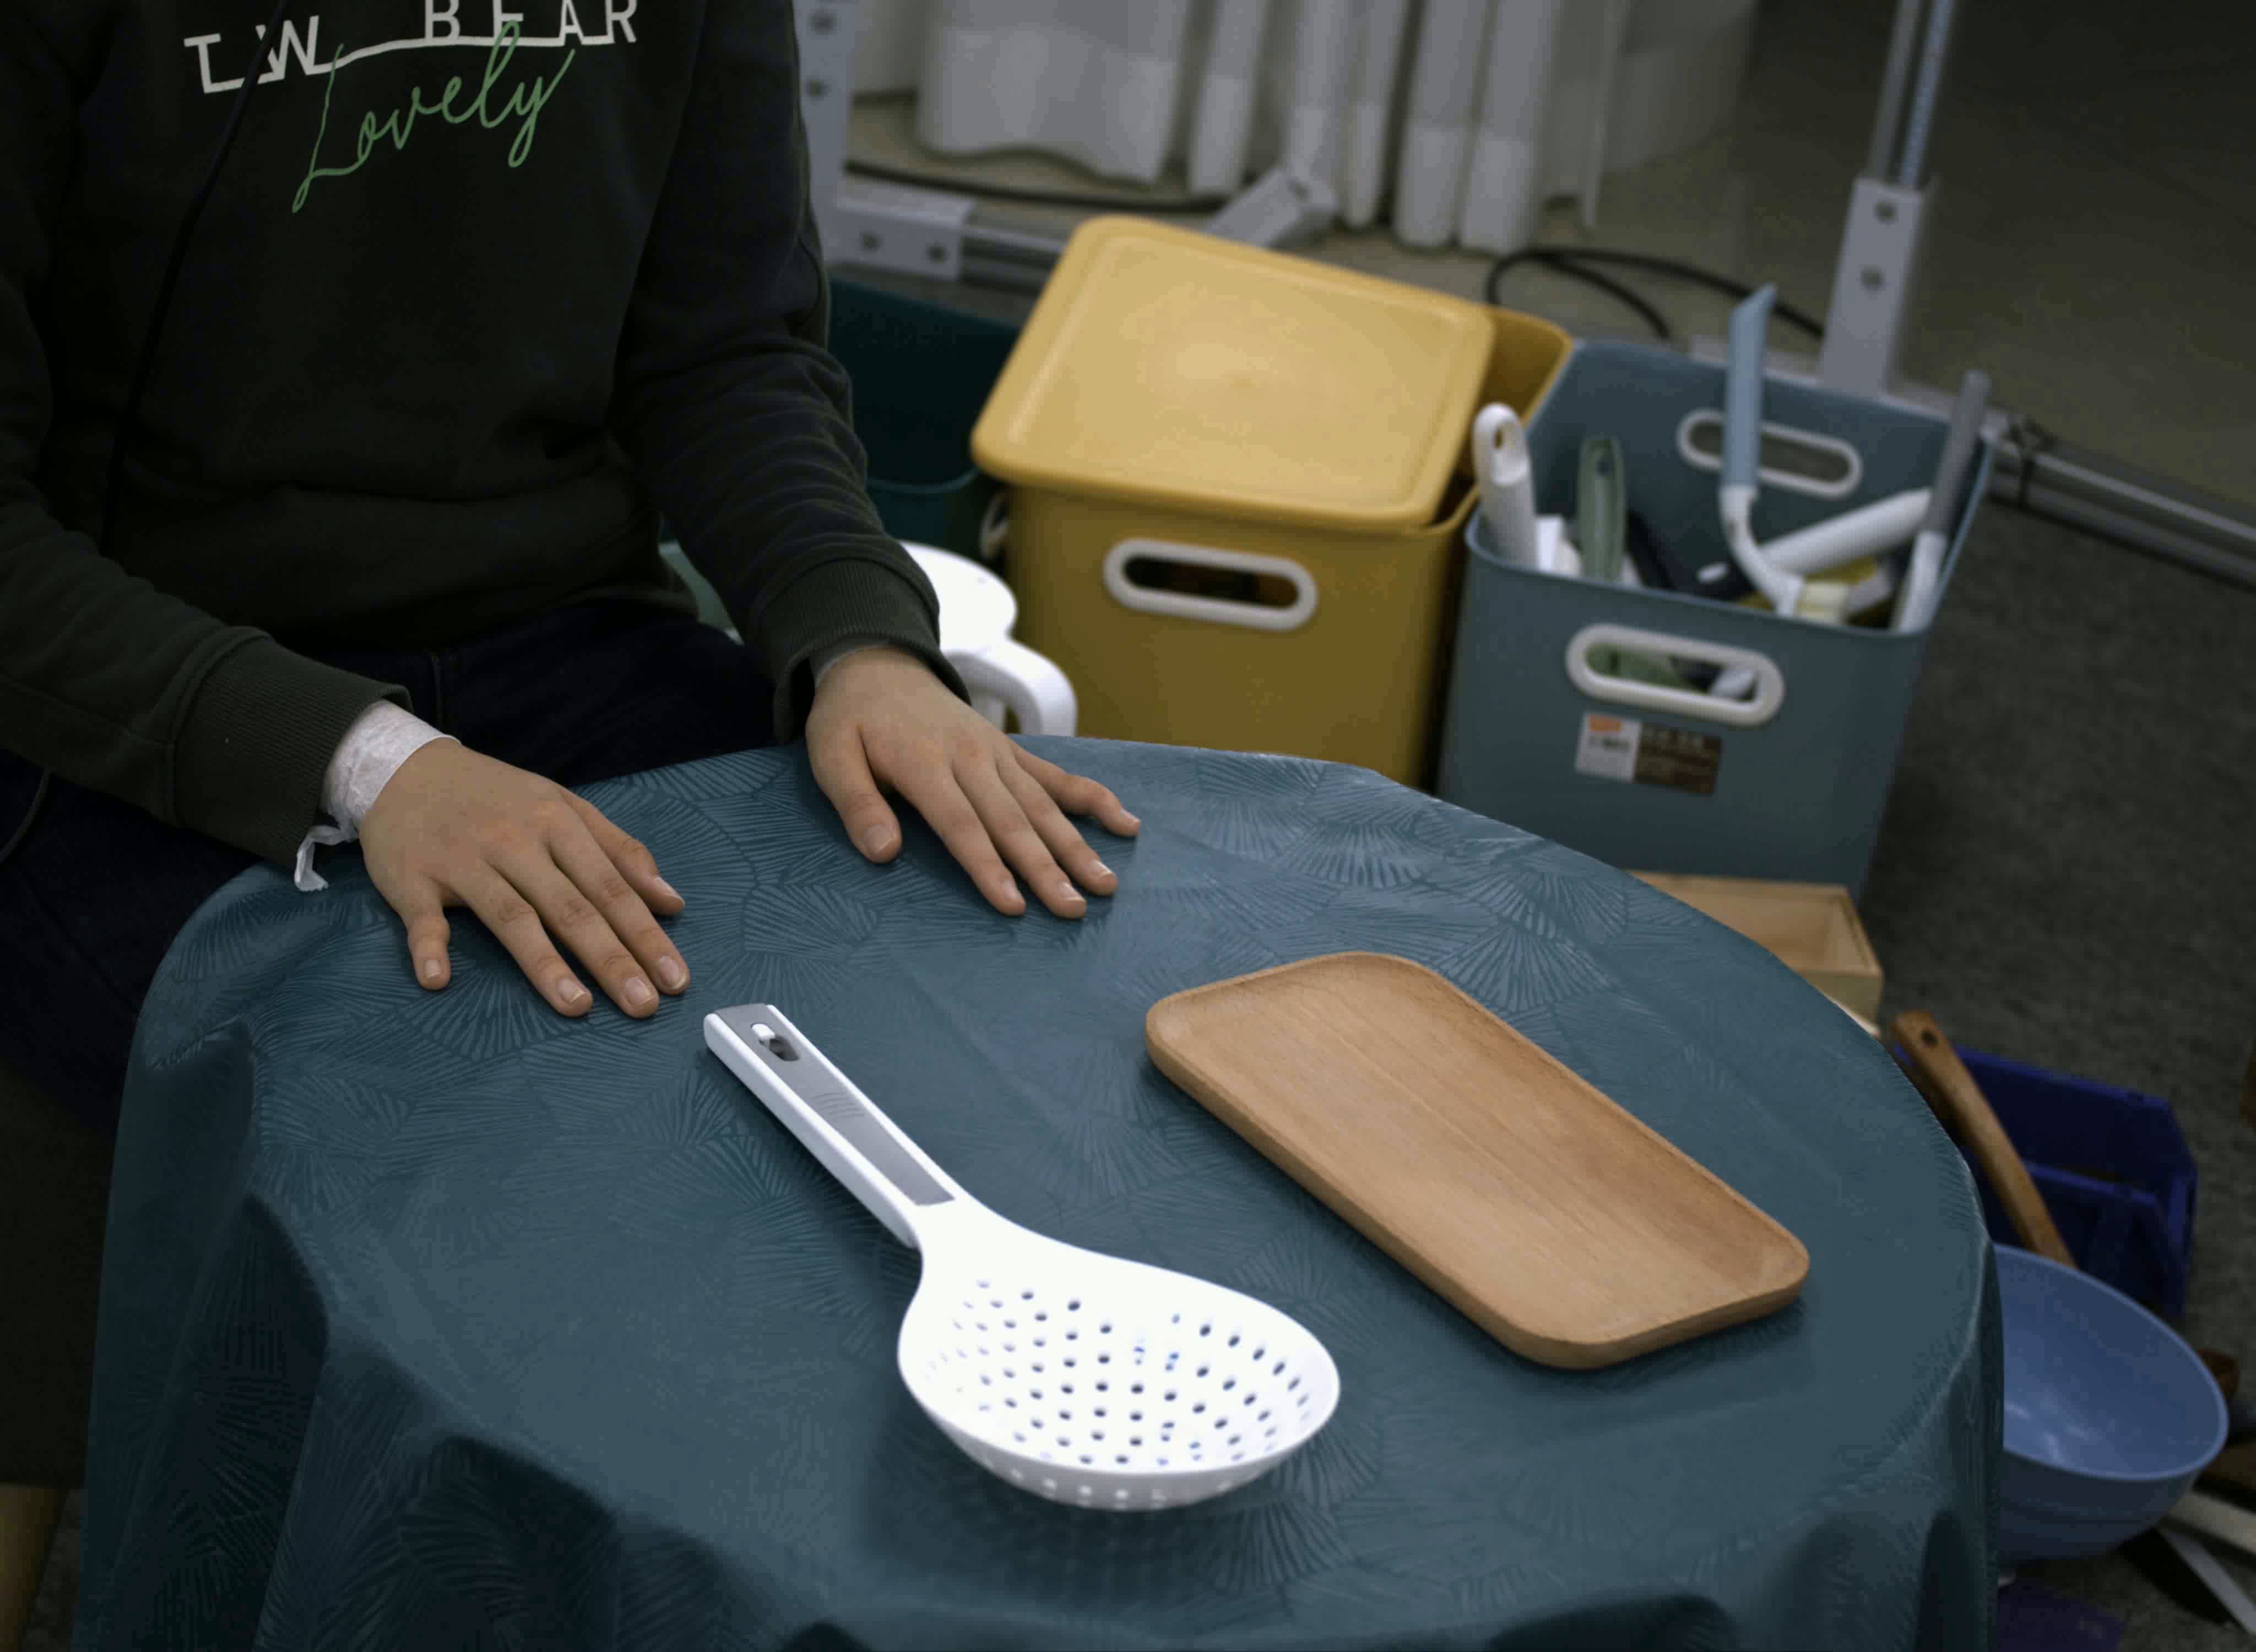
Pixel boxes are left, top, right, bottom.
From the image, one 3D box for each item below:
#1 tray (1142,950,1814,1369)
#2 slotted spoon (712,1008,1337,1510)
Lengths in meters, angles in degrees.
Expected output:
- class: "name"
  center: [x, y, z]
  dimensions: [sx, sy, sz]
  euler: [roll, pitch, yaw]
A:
- class: "tray"
  center: [0.117, 0.112, 1.831]
  dimensions: [0.130, 0.023, 0.253]
  euler: [-10, 30, -34]
- class: "slotted spoon"
  center: [-0.055, 0.133, 1.718]
  dimensions: [0.135, 0.045, 0.353]
  euler: [-6, 28, -28]
